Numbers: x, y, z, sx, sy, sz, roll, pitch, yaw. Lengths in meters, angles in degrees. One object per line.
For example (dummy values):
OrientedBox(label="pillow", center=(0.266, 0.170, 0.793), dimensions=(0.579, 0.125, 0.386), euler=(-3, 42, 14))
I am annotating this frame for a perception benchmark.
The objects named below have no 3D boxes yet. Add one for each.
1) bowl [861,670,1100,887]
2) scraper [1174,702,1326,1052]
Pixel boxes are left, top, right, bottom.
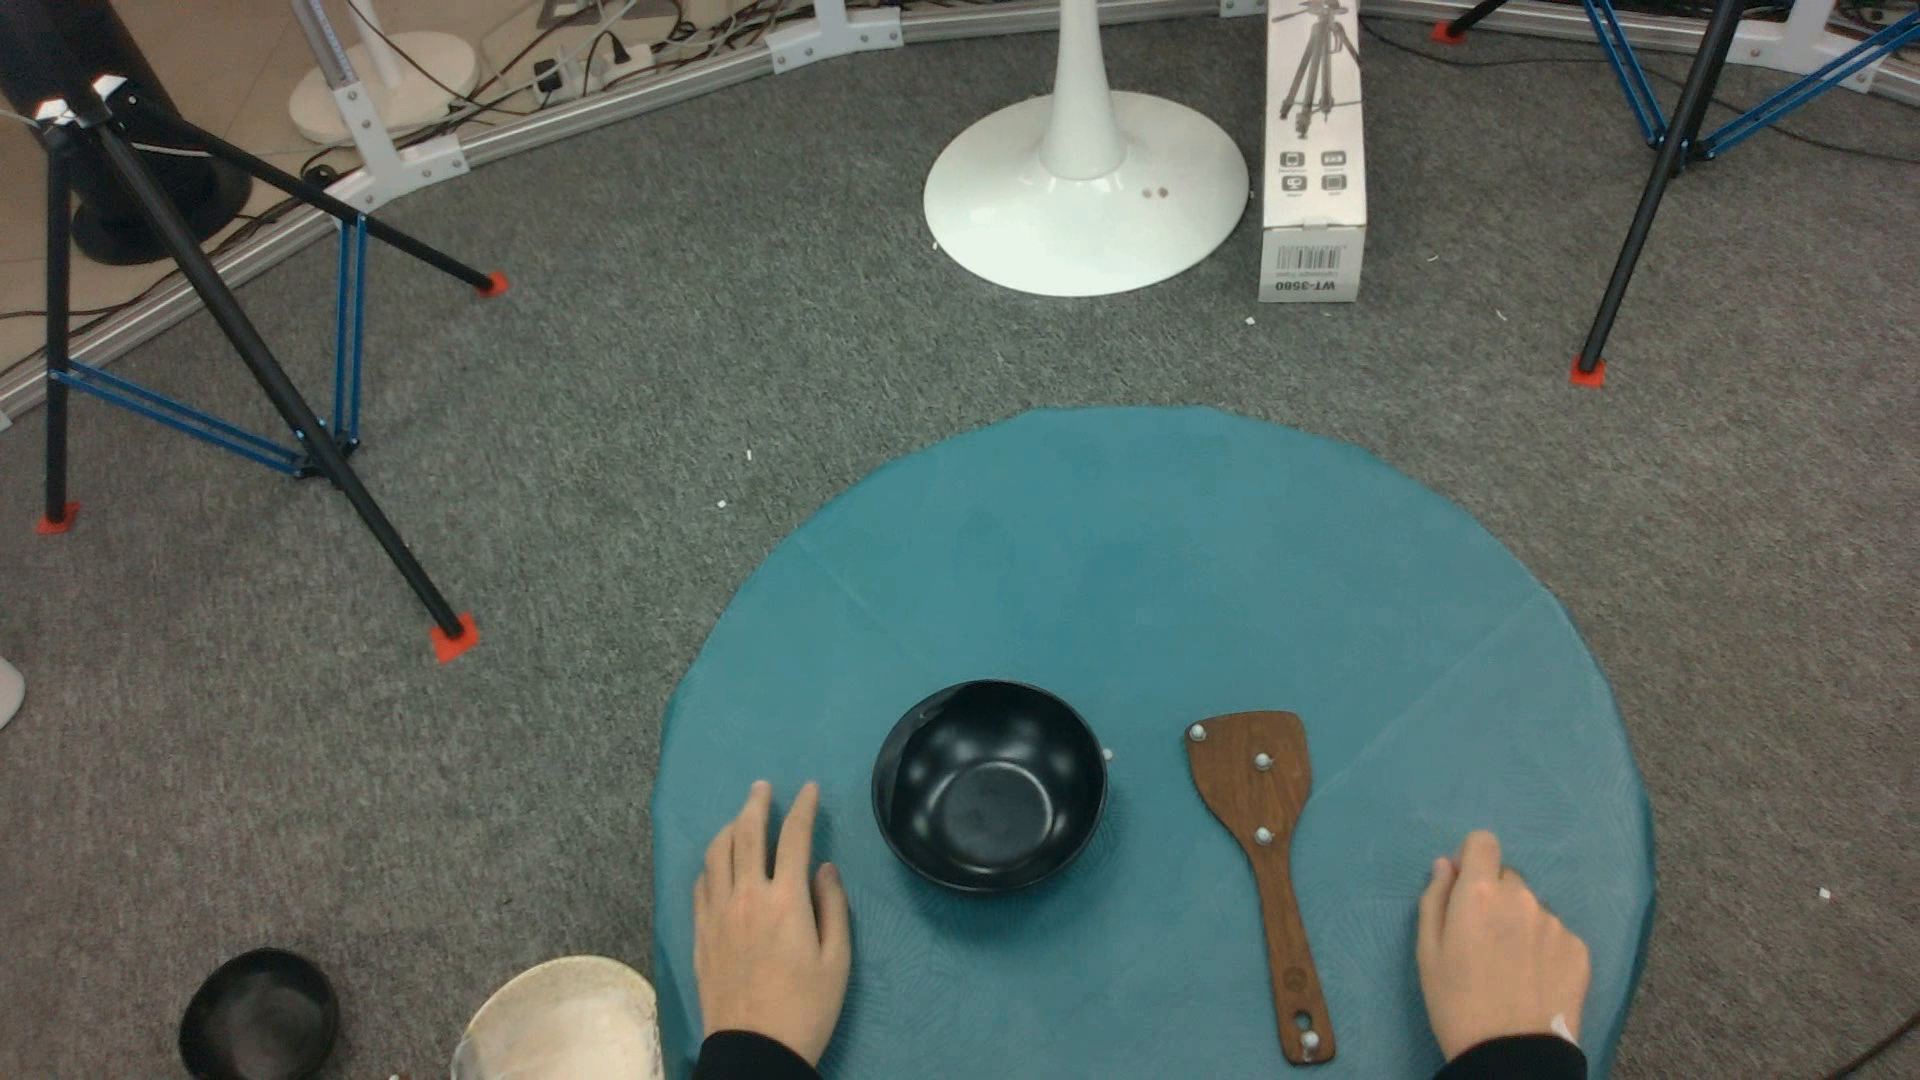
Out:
OrientedBox(label="bowl", center=(0.012, 0.147, 0.814), dimensions=(0.140, 0.049, 0.140), euler=(-1, 50, 1))
OrientedBox(label="scraper", center=(0.175, 0.187, 0.793), dimensions=(0.076, 0.011, 0.212), euler=(-6, 52, 2))
